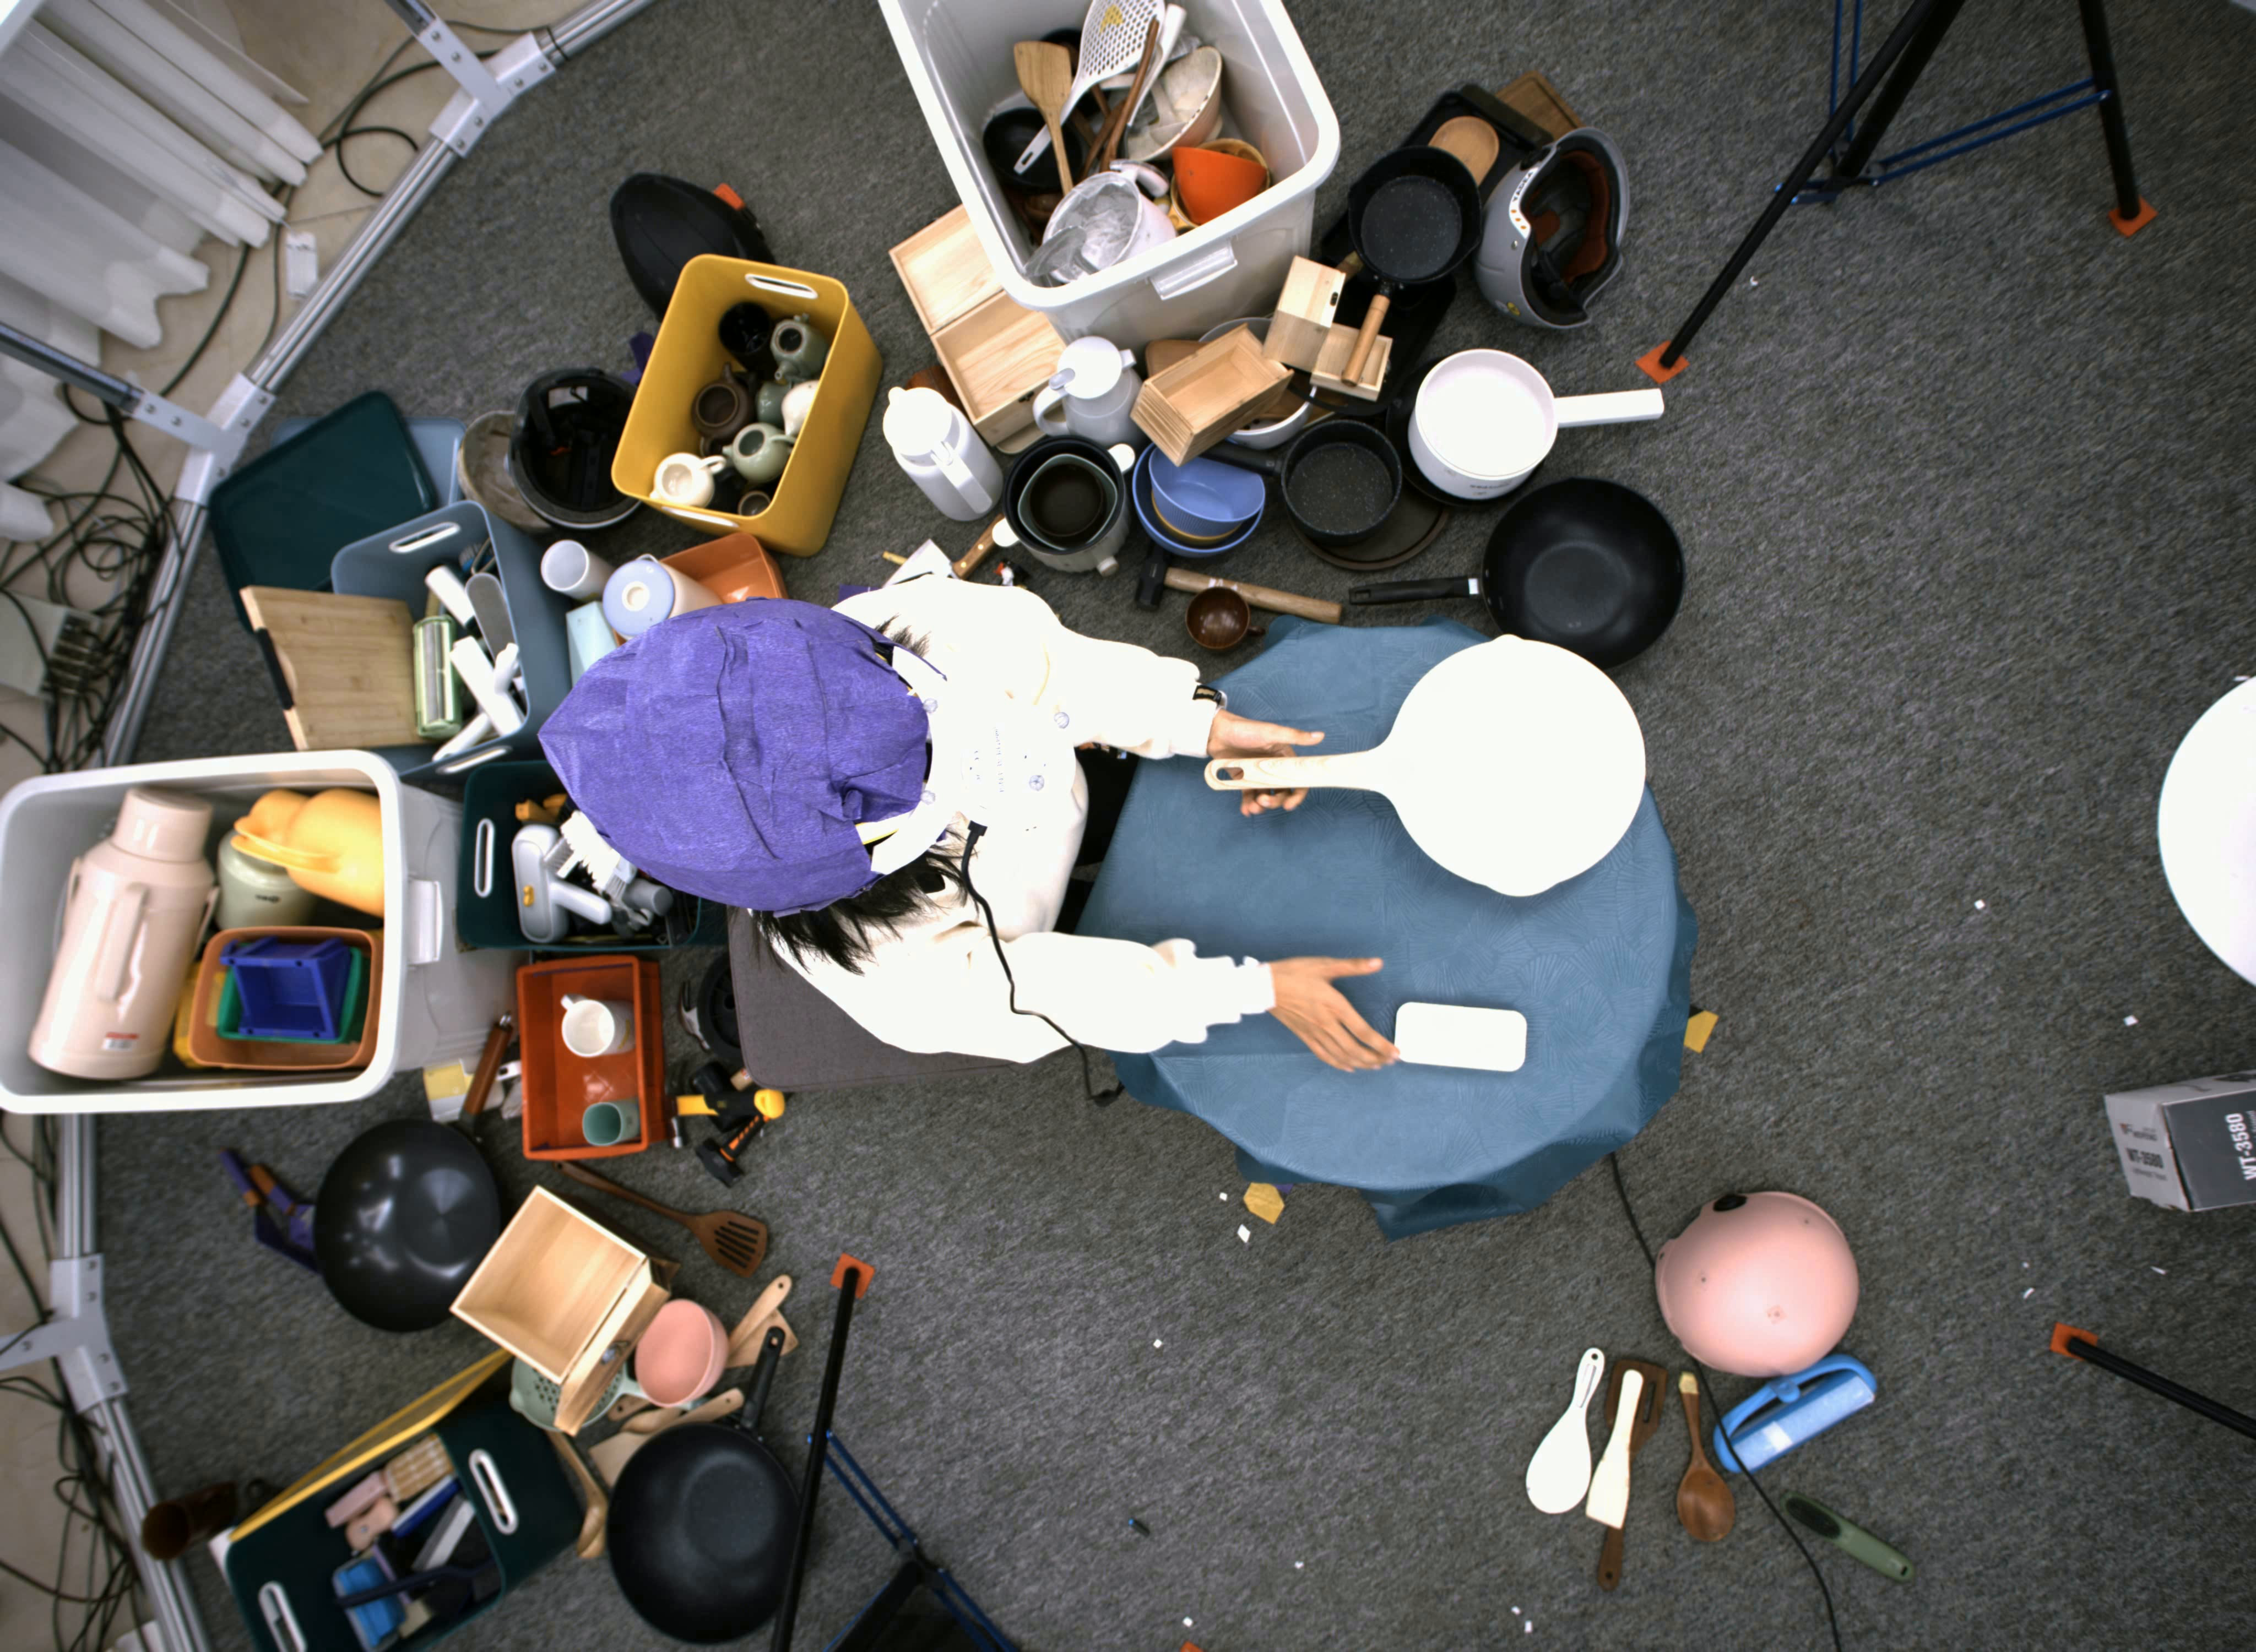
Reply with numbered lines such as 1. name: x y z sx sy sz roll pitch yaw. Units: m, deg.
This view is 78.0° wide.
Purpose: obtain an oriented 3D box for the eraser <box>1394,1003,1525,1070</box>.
1. eraser: 0.341 0.214 1.424 0.132 0.034 0.063 4 84 10

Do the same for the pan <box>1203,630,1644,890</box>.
1. pan: 0.298 -0.061 1.411 0.437 0.102 0.262 -3 87 10
